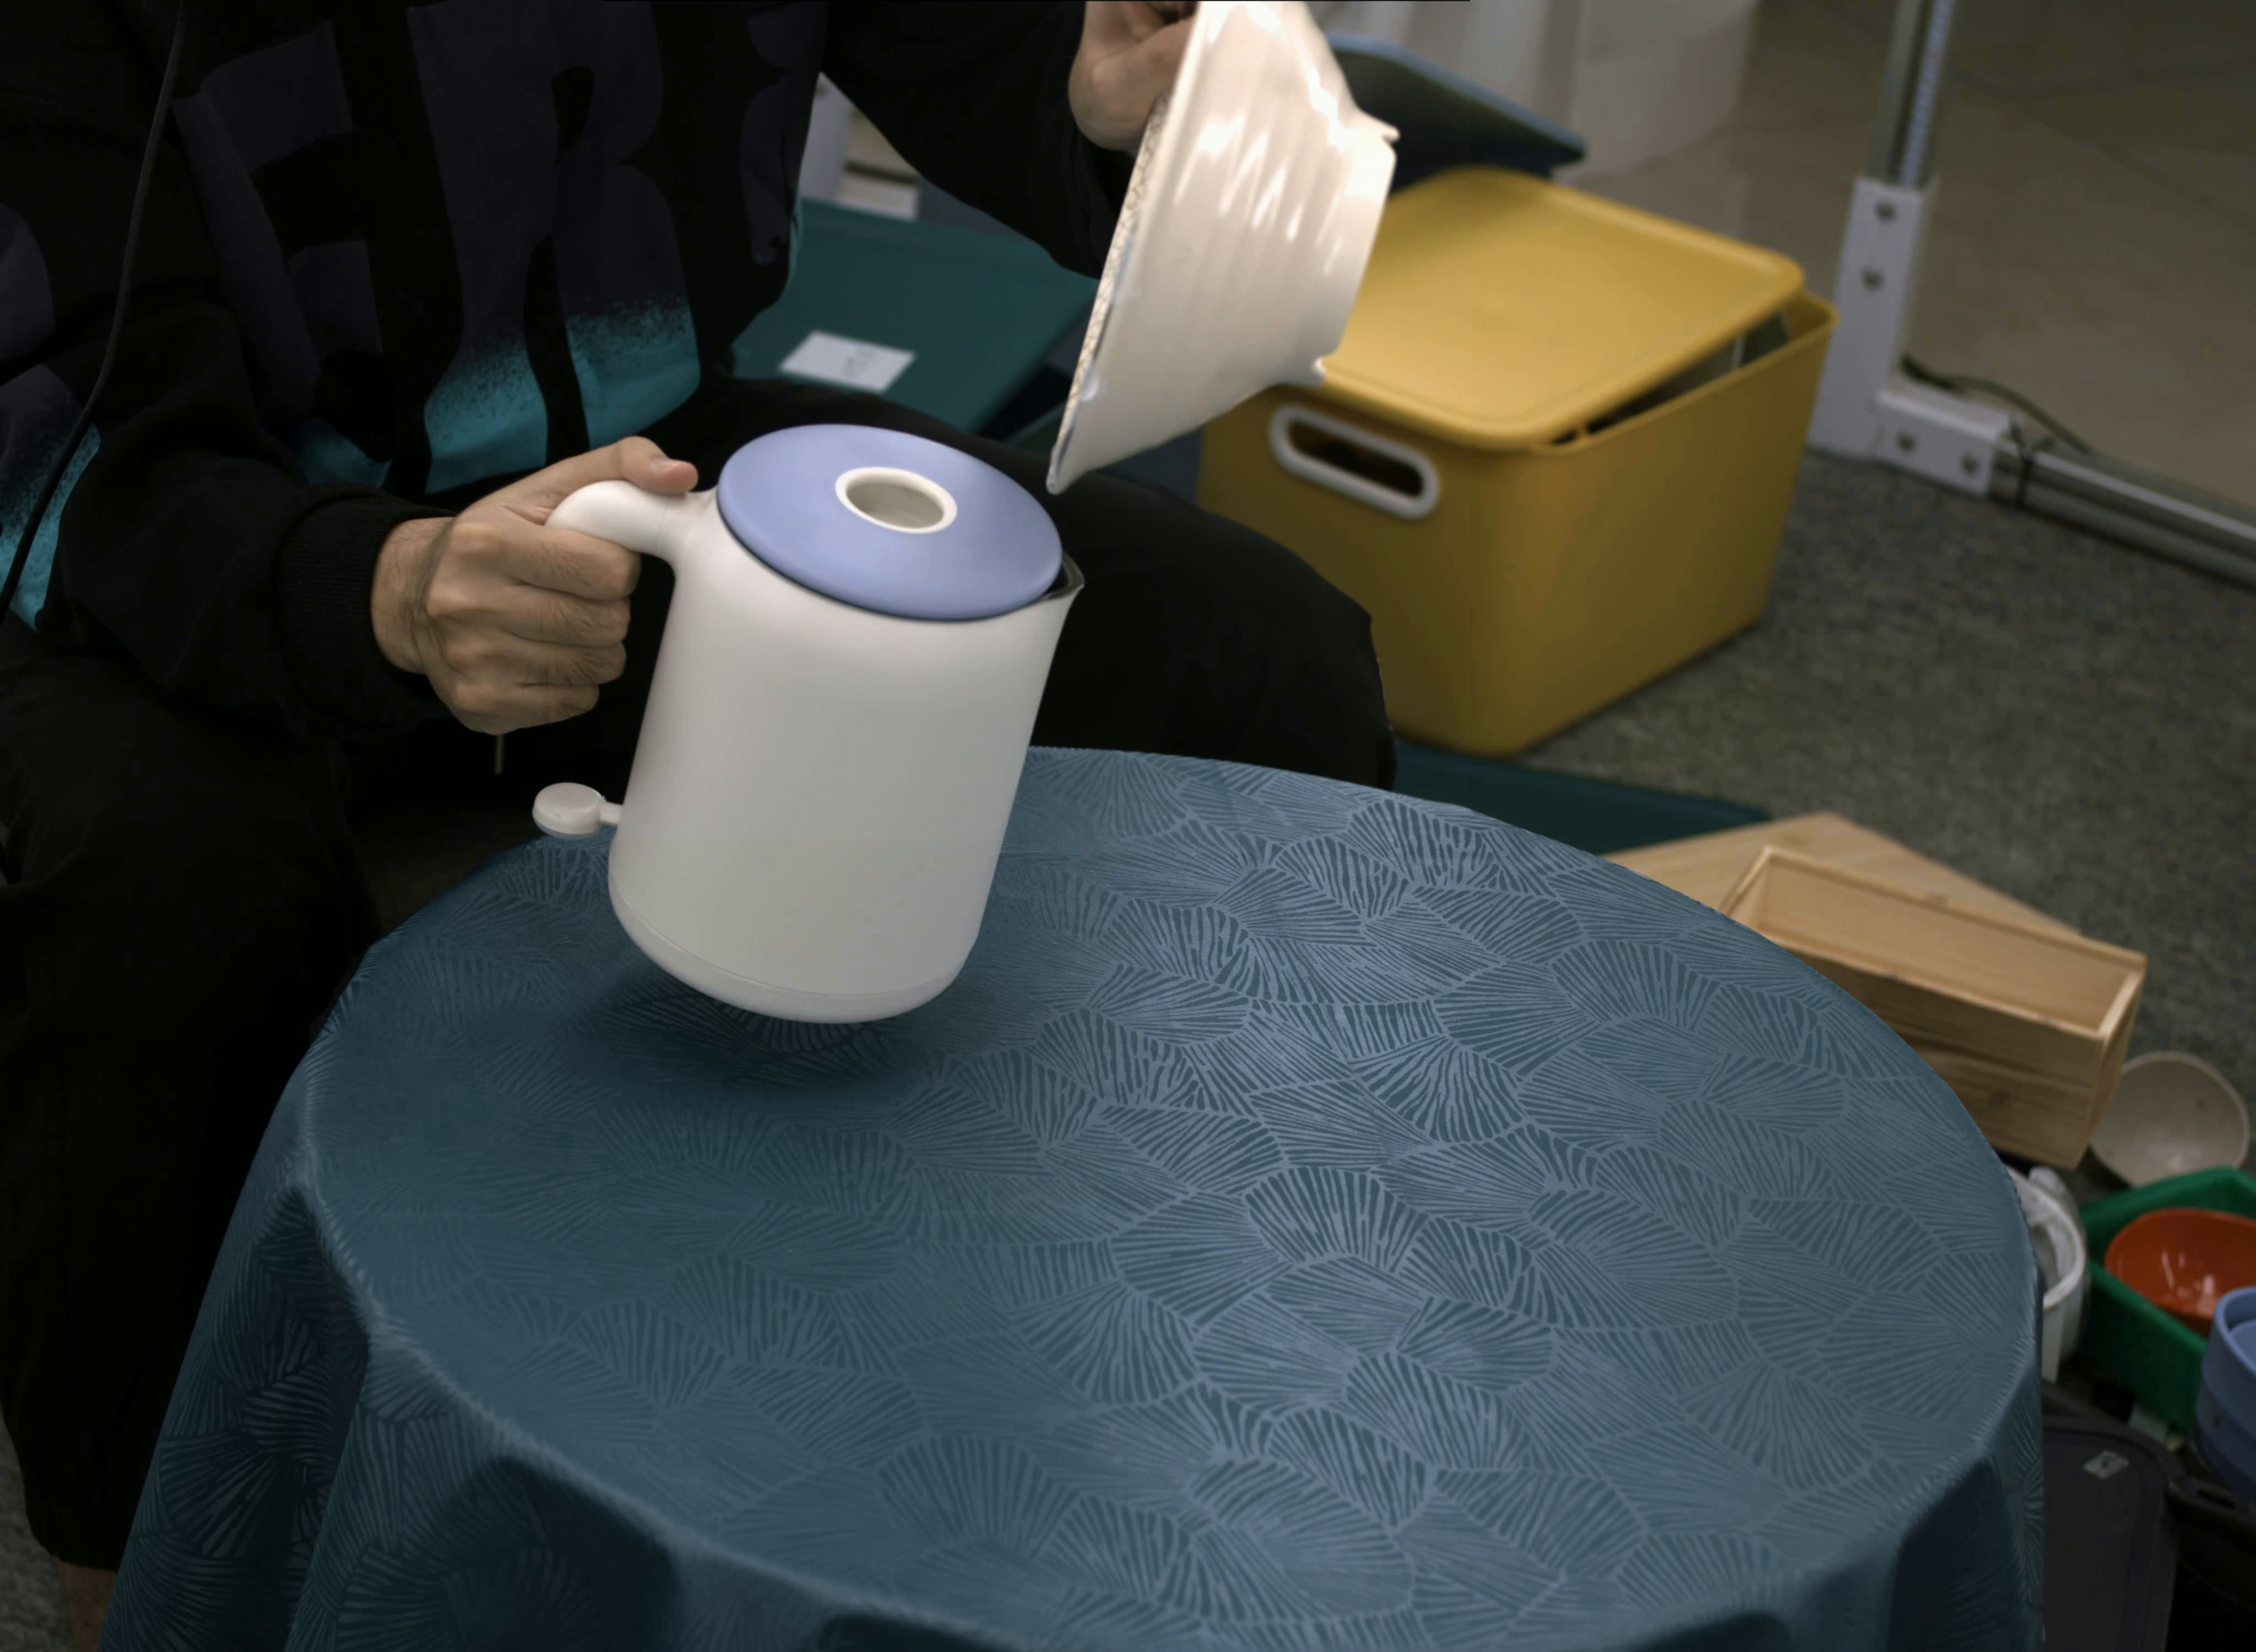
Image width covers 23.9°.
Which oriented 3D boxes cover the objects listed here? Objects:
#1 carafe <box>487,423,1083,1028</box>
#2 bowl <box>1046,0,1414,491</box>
[{"bbox_3d":[-0.123,-0.040,1.819,0.190,0.182,0.133,13,29,1],"label":"carafe"},{"bbox_3d":[0.042,-0.193,1.718,0.078,0.203,0.205,19,27,2],"label":"bowl"}]
